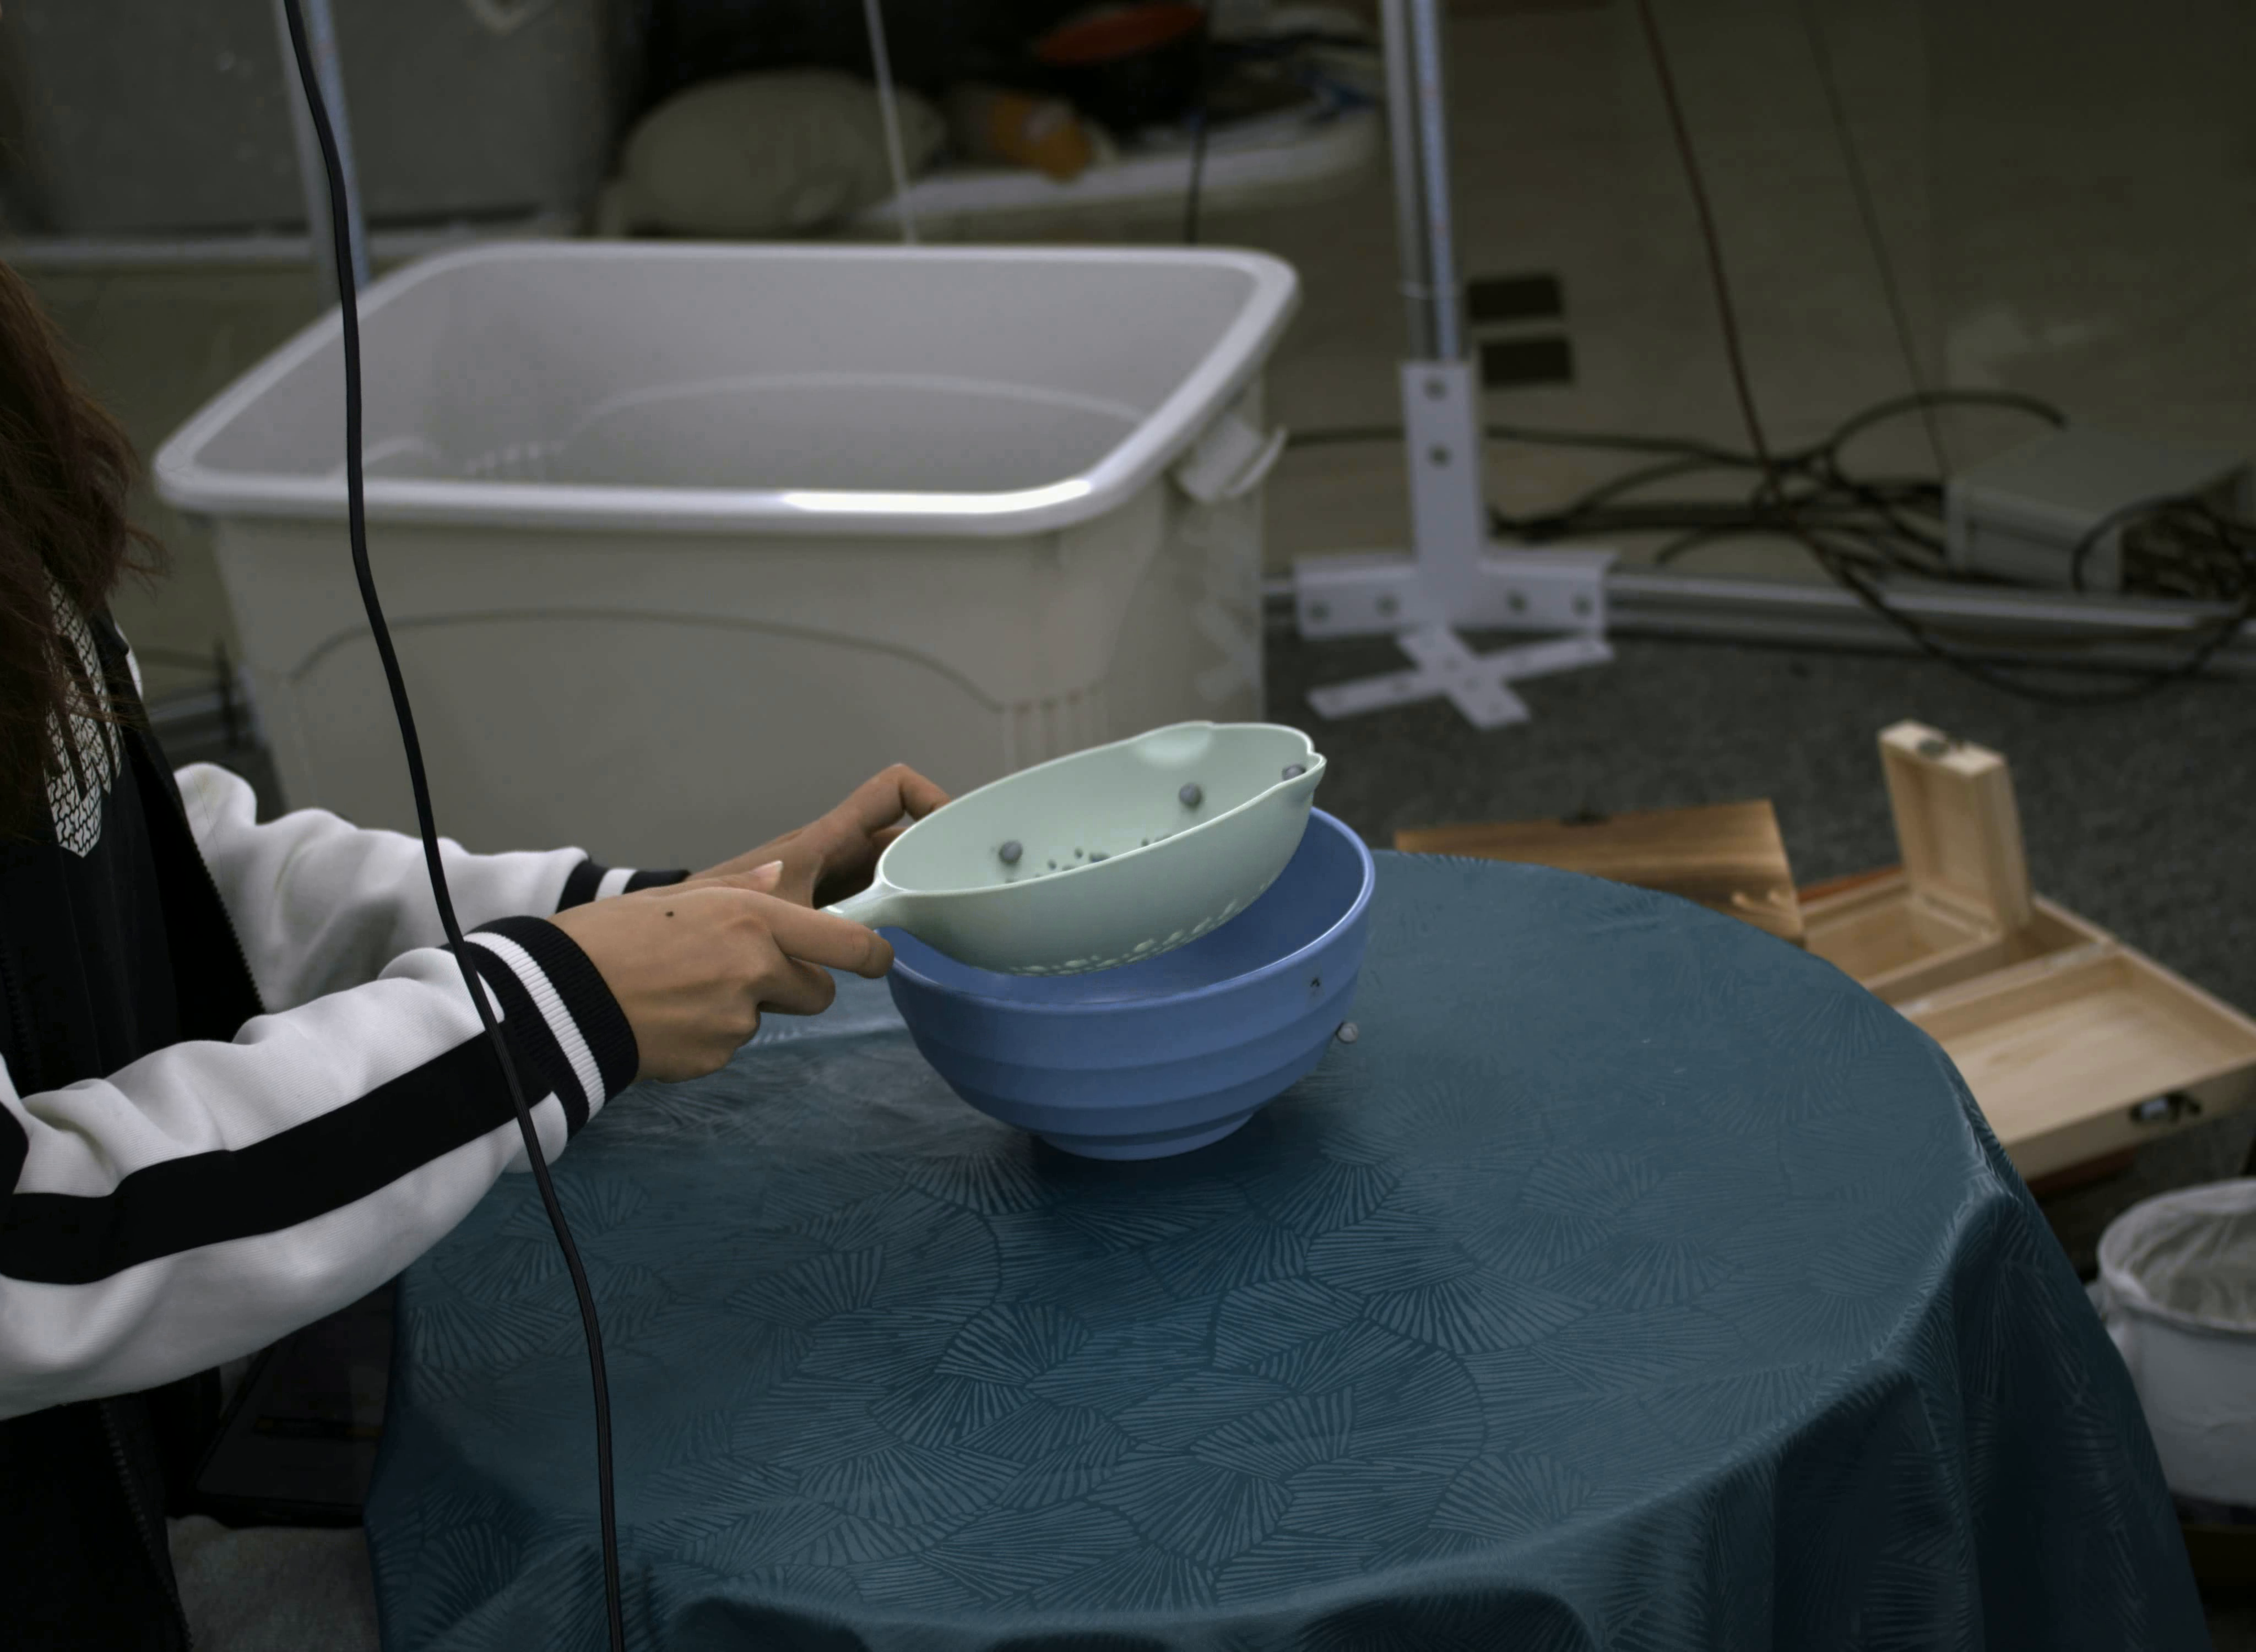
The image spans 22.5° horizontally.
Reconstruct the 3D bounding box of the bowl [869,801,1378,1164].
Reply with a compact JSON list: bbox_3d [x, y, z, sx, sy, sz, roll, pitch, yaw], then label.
[{"bbox_3d":[0.003,0.068,2.189,0.196,0.097,0.193,-6,26,3],"label":"bowl"}]

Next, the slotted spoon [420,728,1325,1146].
[{"bbox_3d":[-0.095,0.039,2.084,0.357,0.076,0.168,-13,11,-21],"label":"slotted spoon"}]
